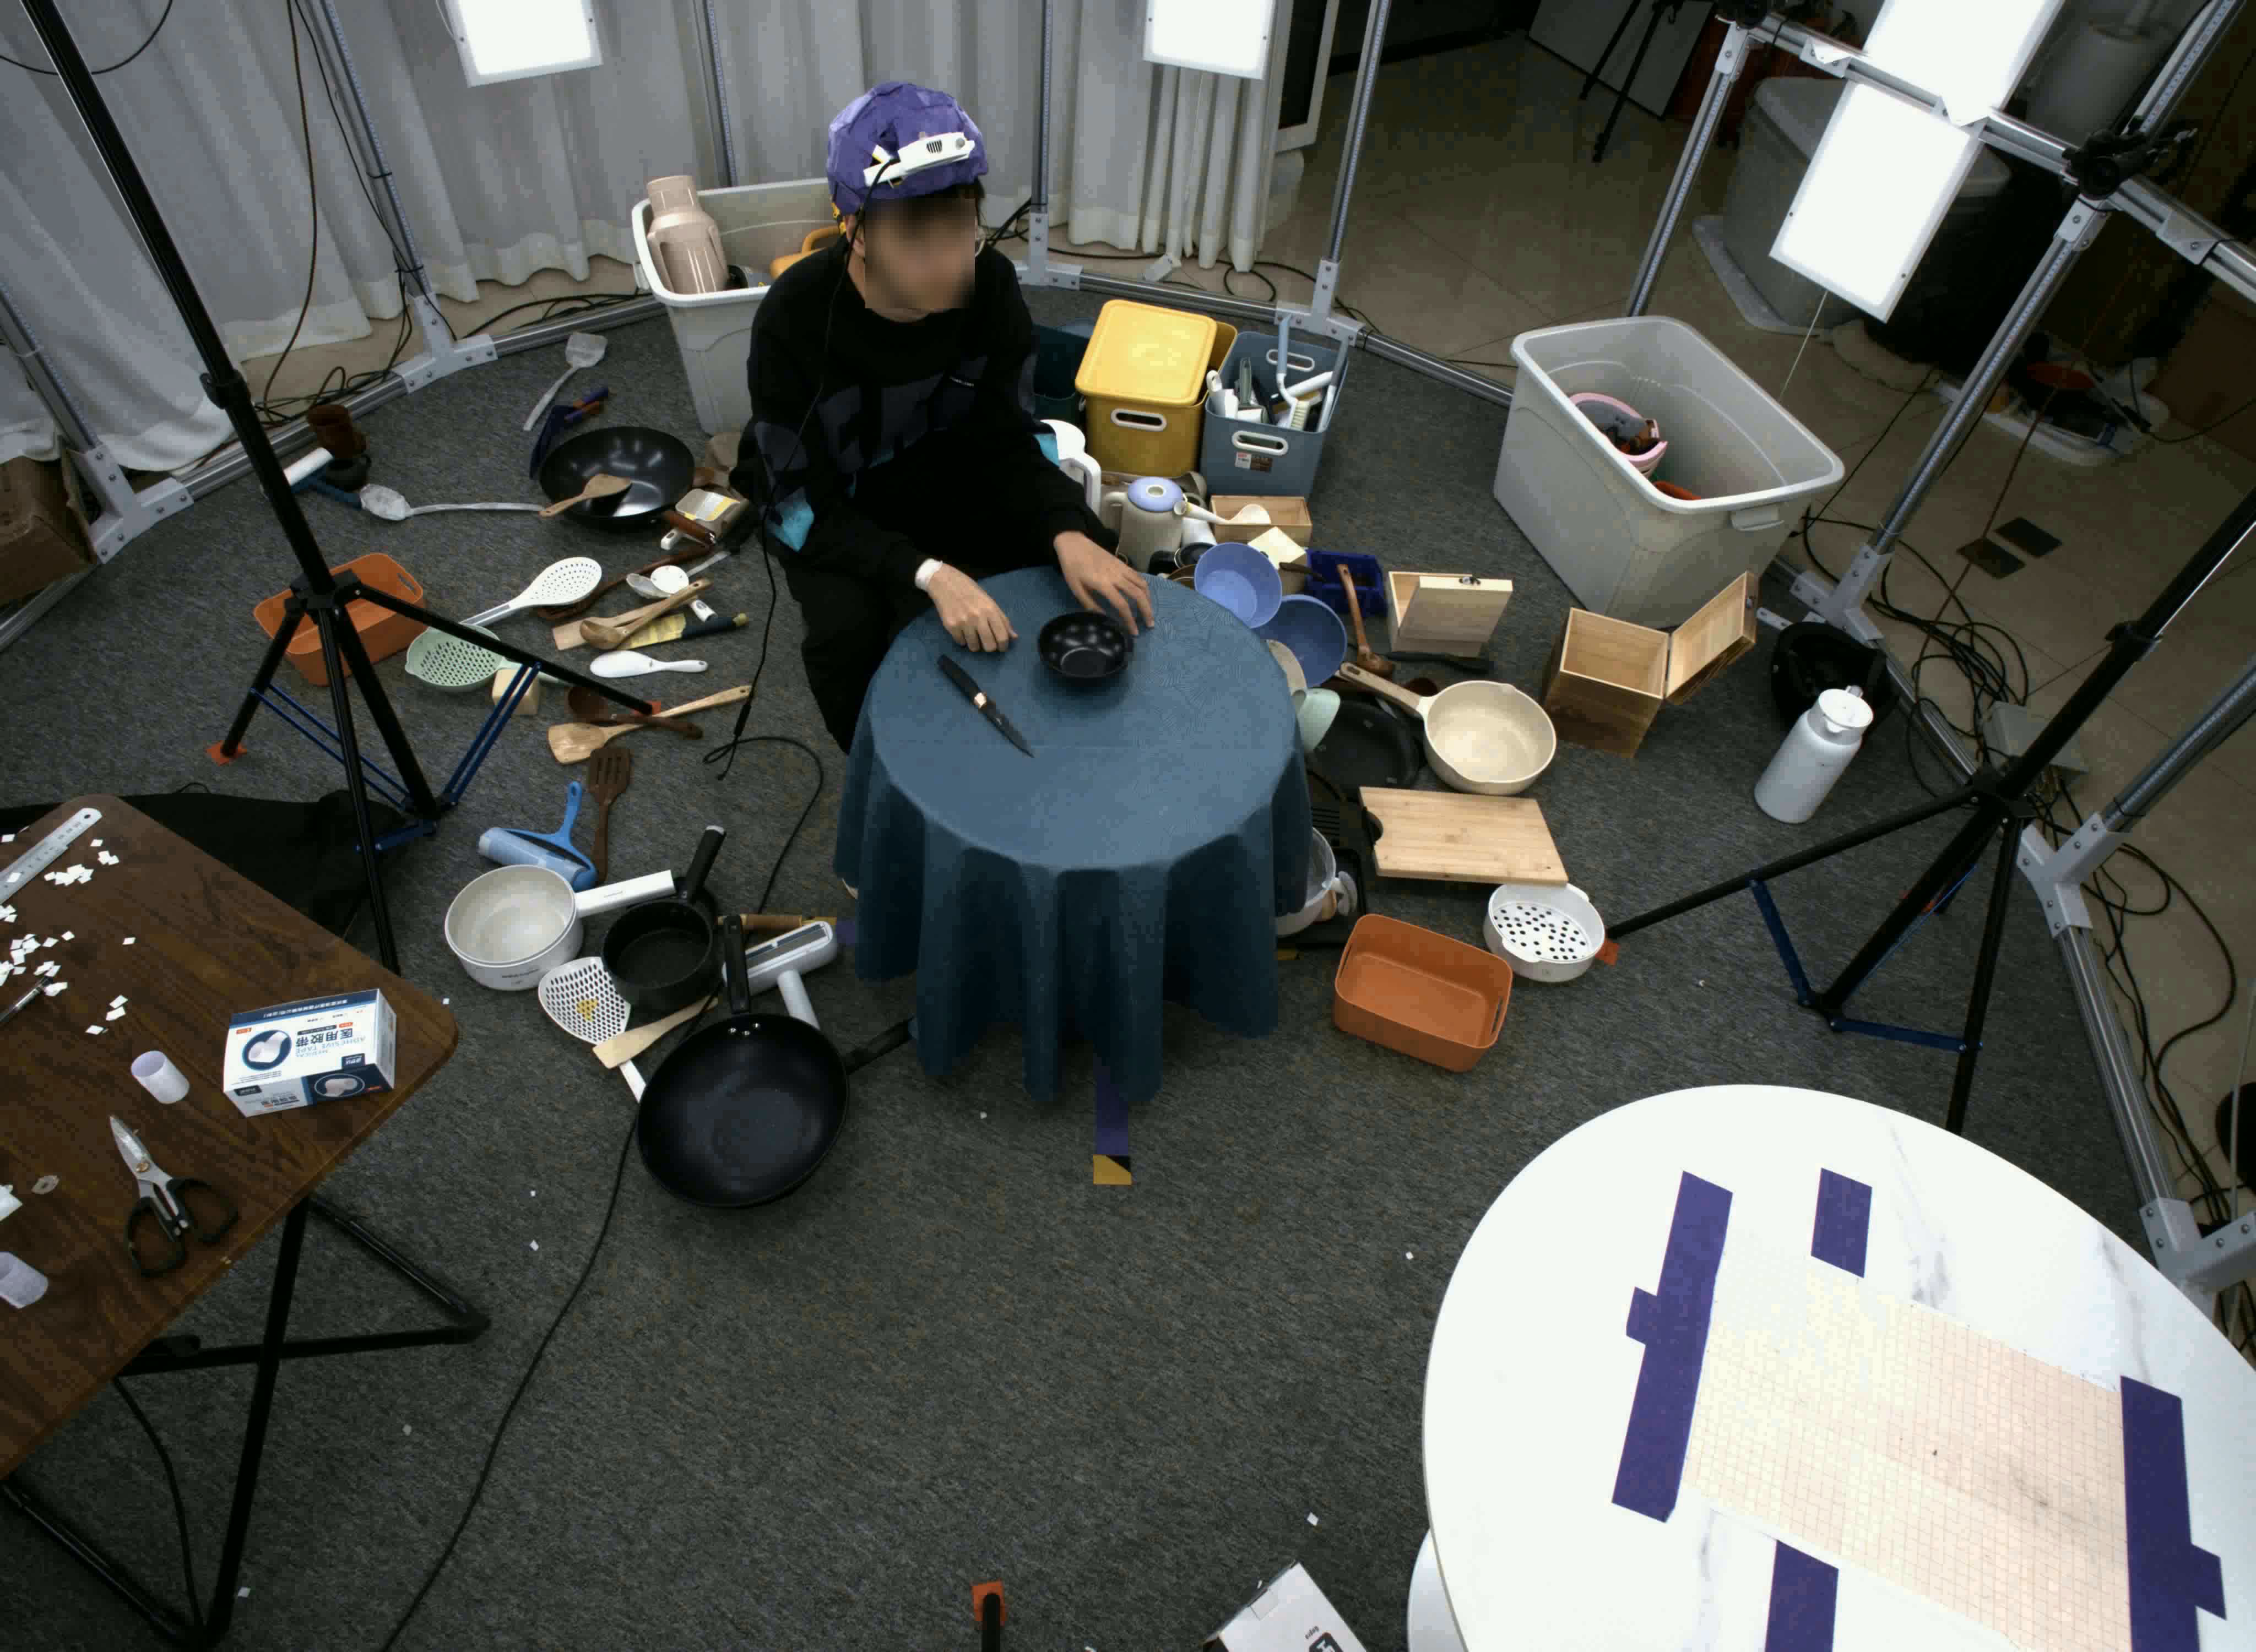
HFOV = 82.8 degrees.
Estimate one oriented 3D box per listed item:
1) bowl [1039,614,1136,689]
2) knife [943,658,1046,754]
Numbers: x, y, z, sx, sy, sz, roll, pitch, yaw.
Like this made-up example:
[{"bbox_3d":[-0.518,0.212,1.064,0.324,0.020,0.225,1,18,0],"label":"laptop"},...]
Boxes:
[{"bbox_3d":[-0.057,-0.243,1.848,0.140,0.048,0.143,-1,47,0],"label":"bowl"},{"bbox_3d":[-0.189,-0.167,1.794,0.026,0.017,0.229,-28,57,-28],"label":"knife"}]
